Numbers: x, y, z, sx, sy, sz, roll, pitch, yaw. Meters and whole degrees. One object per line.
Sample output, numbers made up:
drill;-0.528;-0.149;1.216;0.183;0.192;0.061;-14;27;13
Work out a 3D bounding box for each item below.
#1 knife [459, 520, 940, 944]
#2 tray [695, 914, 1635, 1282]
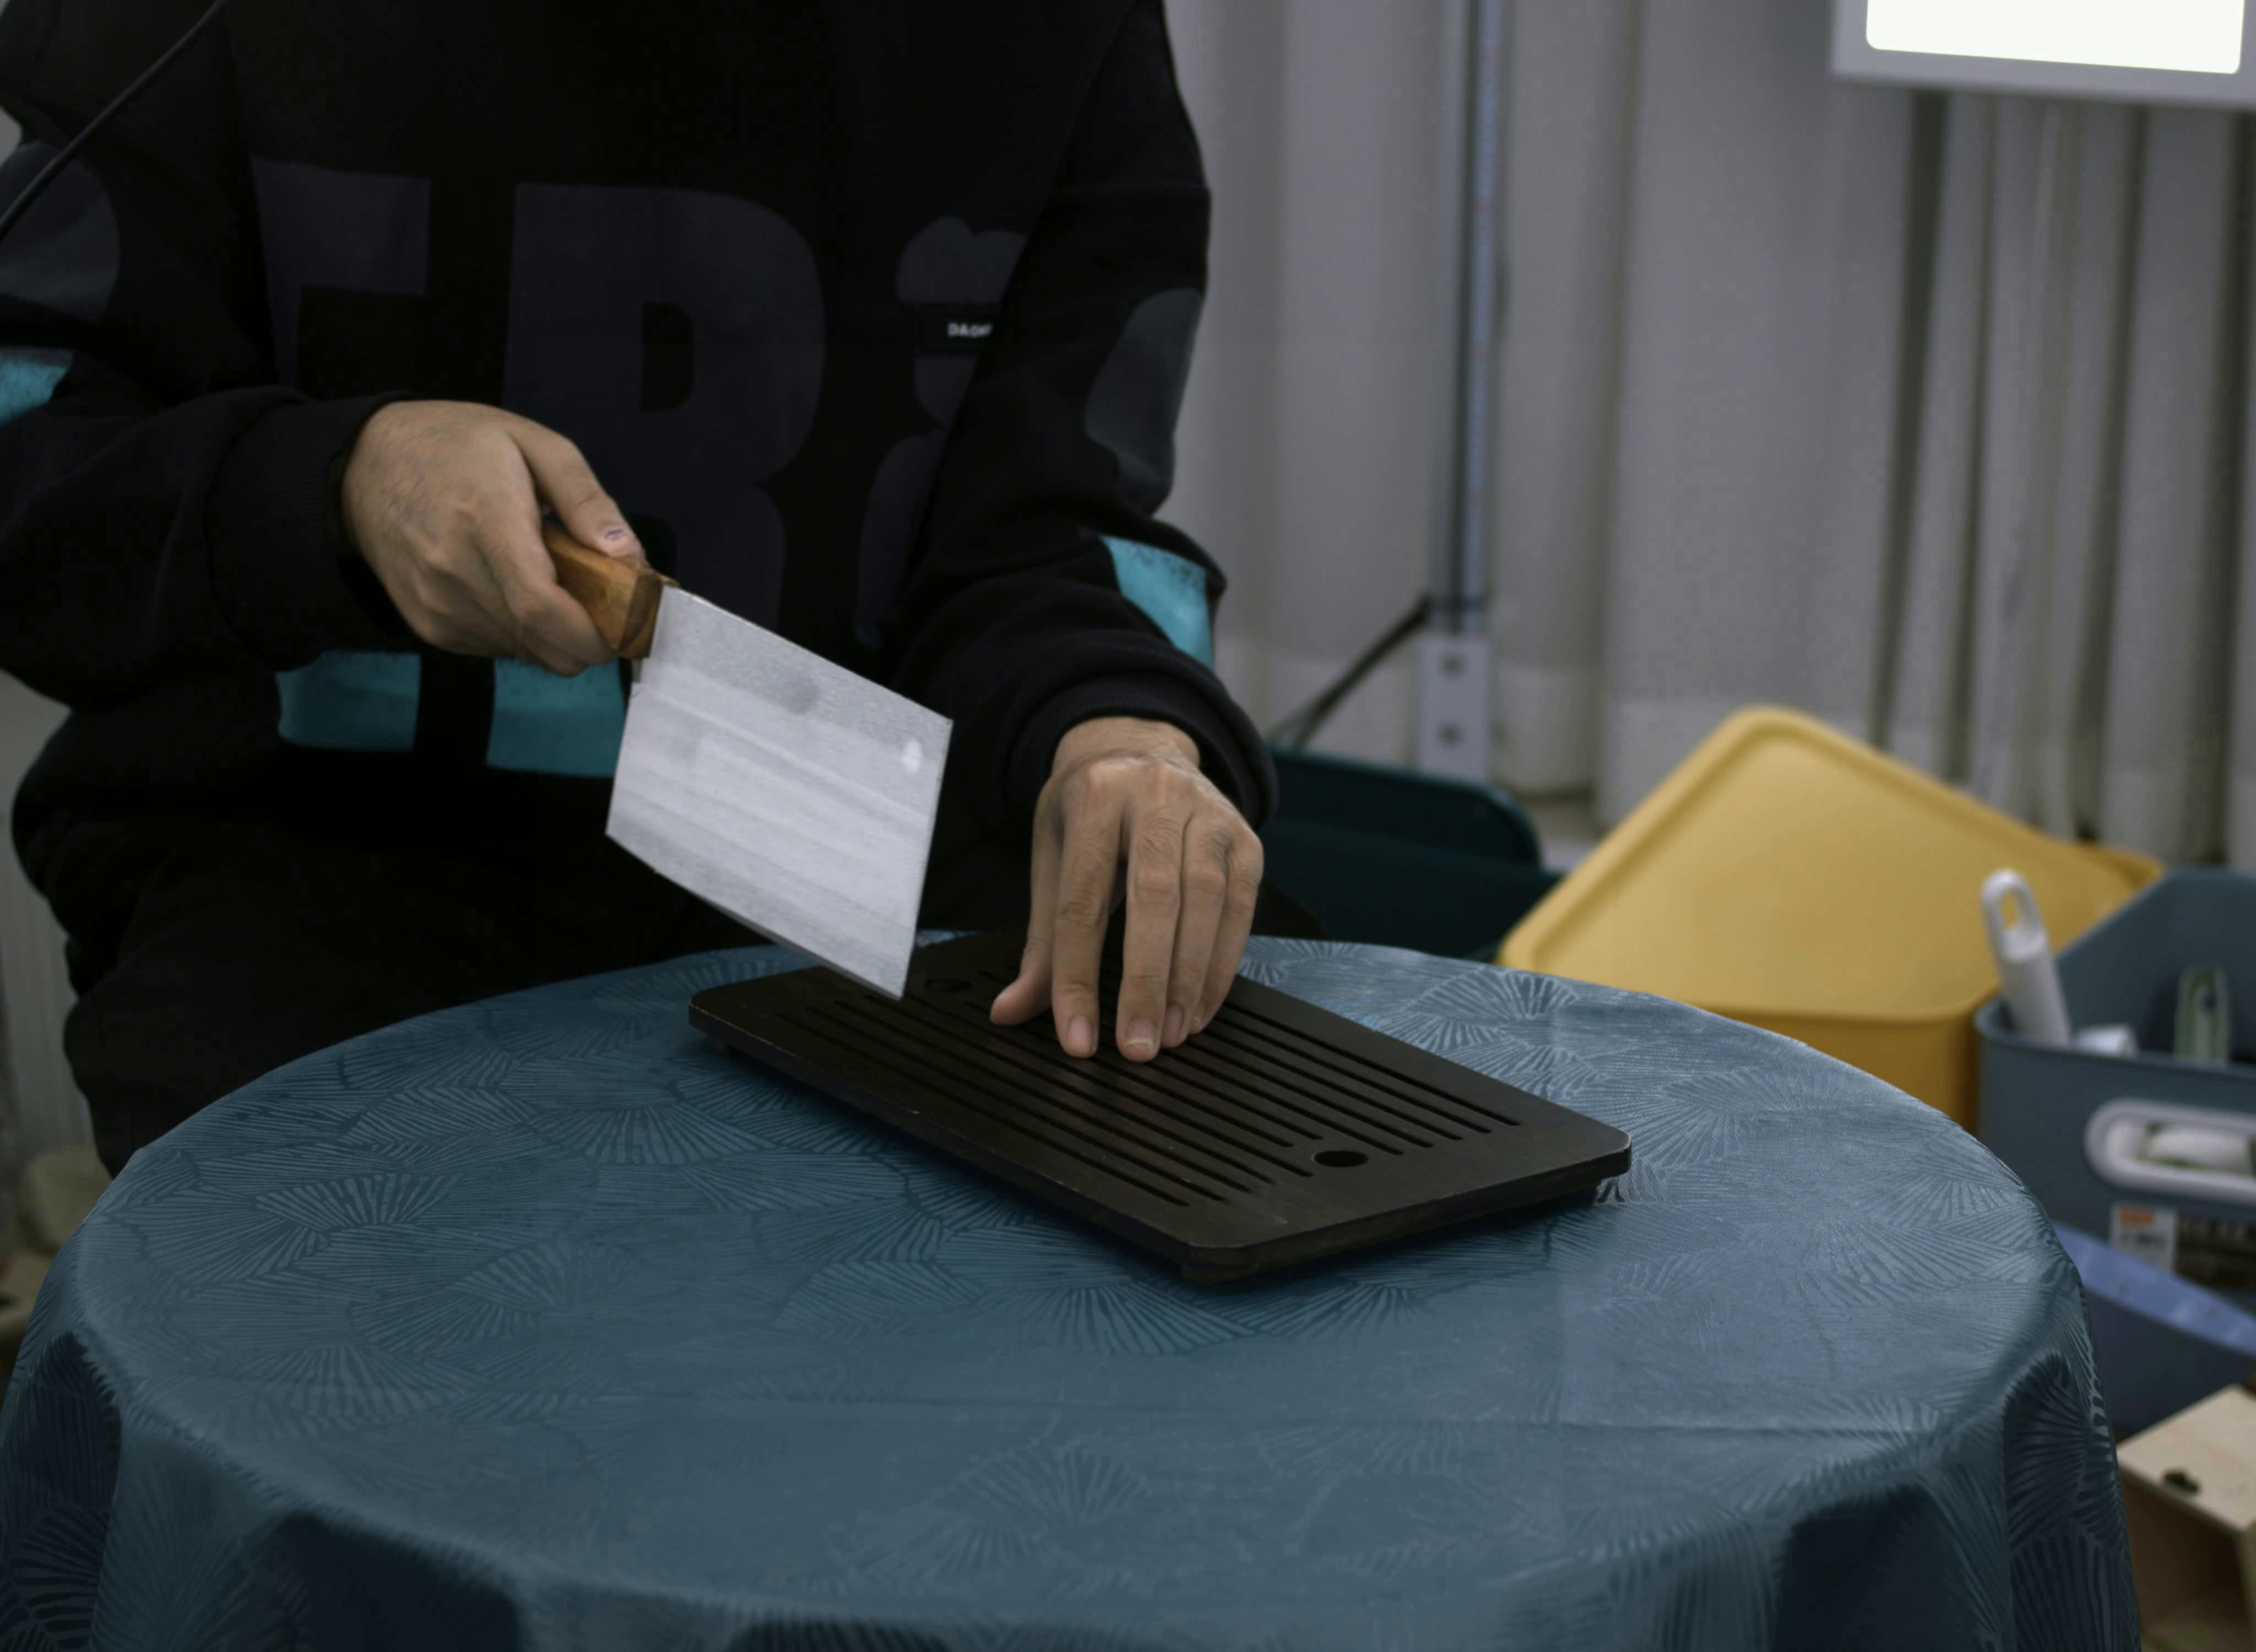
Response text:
knife;-0.145;-0.031;1.703;0.021;0.093;0.301;3;14;-35
tray;0.006;0.083;1.692;0.171;0.019;0.302;-11;19;-34
